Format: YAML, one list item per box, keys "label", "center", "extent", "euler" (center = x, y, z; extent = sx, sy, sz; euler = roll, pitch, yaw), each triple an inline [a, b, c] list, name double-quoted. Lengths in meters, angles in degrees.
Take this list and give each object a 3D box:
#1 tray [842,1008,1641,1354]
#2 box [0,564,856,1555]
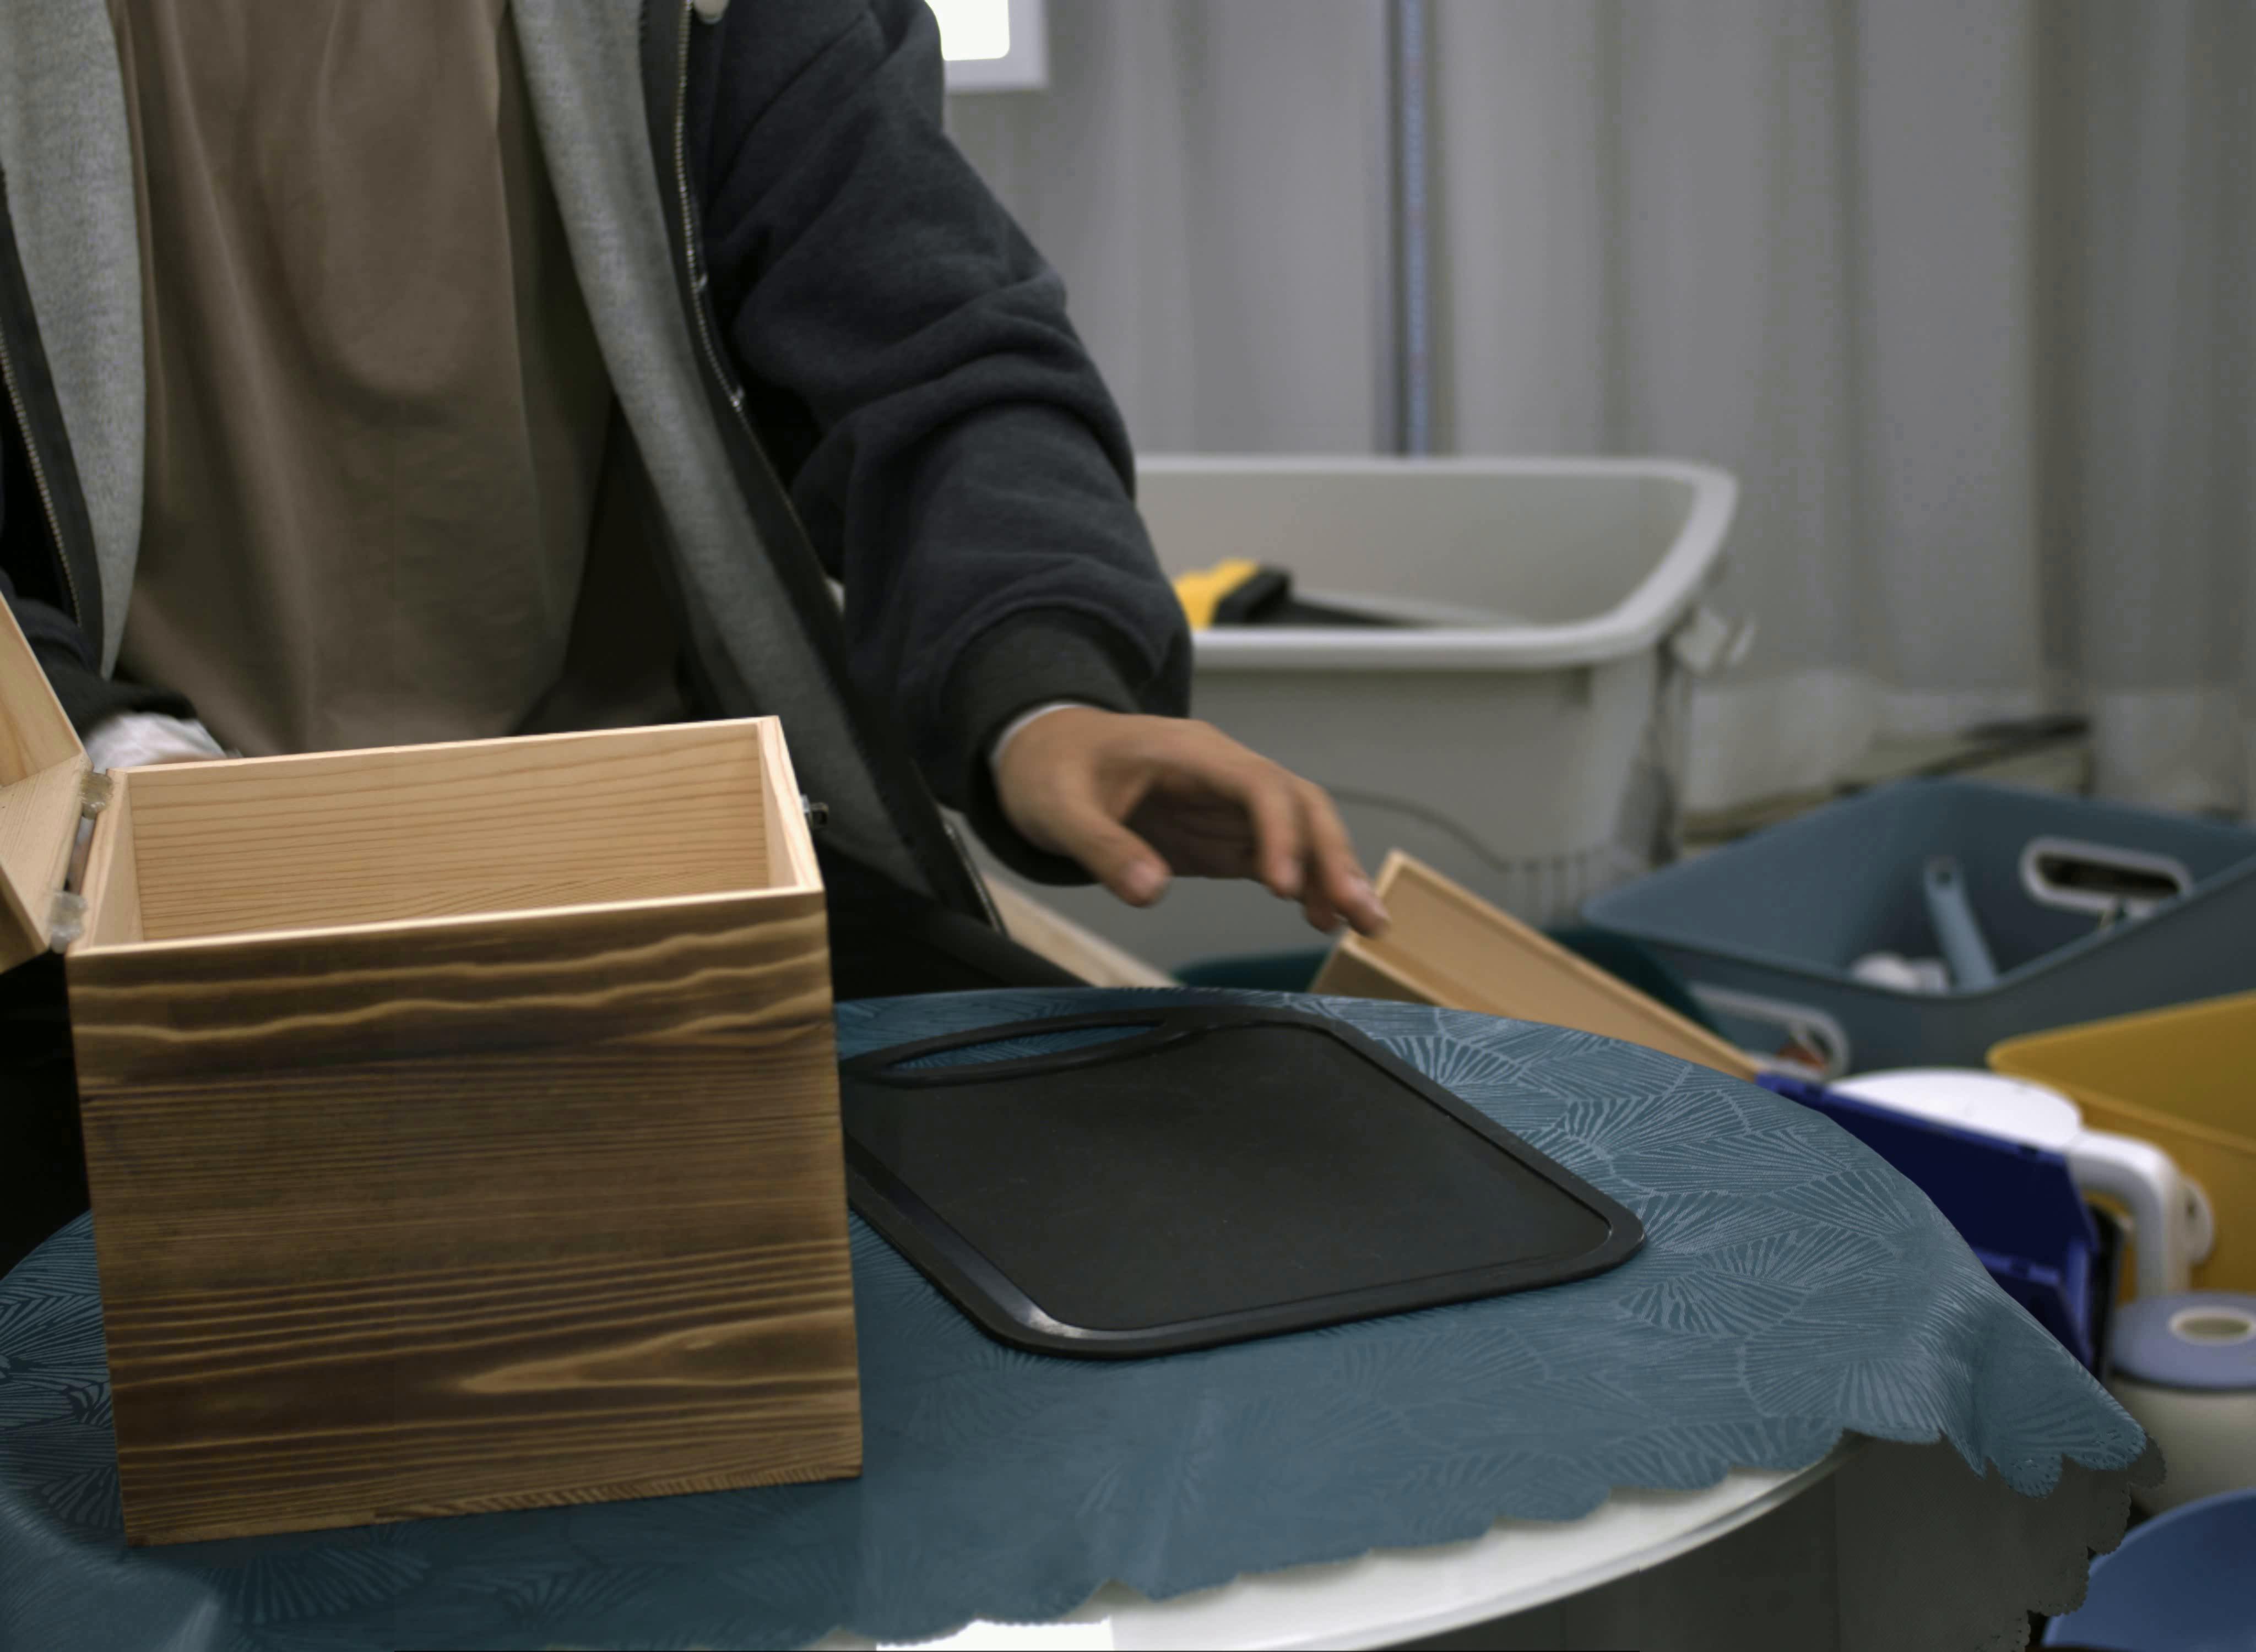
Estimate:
- label: "tray"
  center: [0.012, 0.106, 1.736]
  extent: [0.210, 0.010, 0.328]
  euler: [-8, 16, -19]
- label: "box"
  center: [-0.242, -0.007, 1.526]
  extent: [0.321, 0.374, 0.210]
  euler: [-5, 15, -6]
